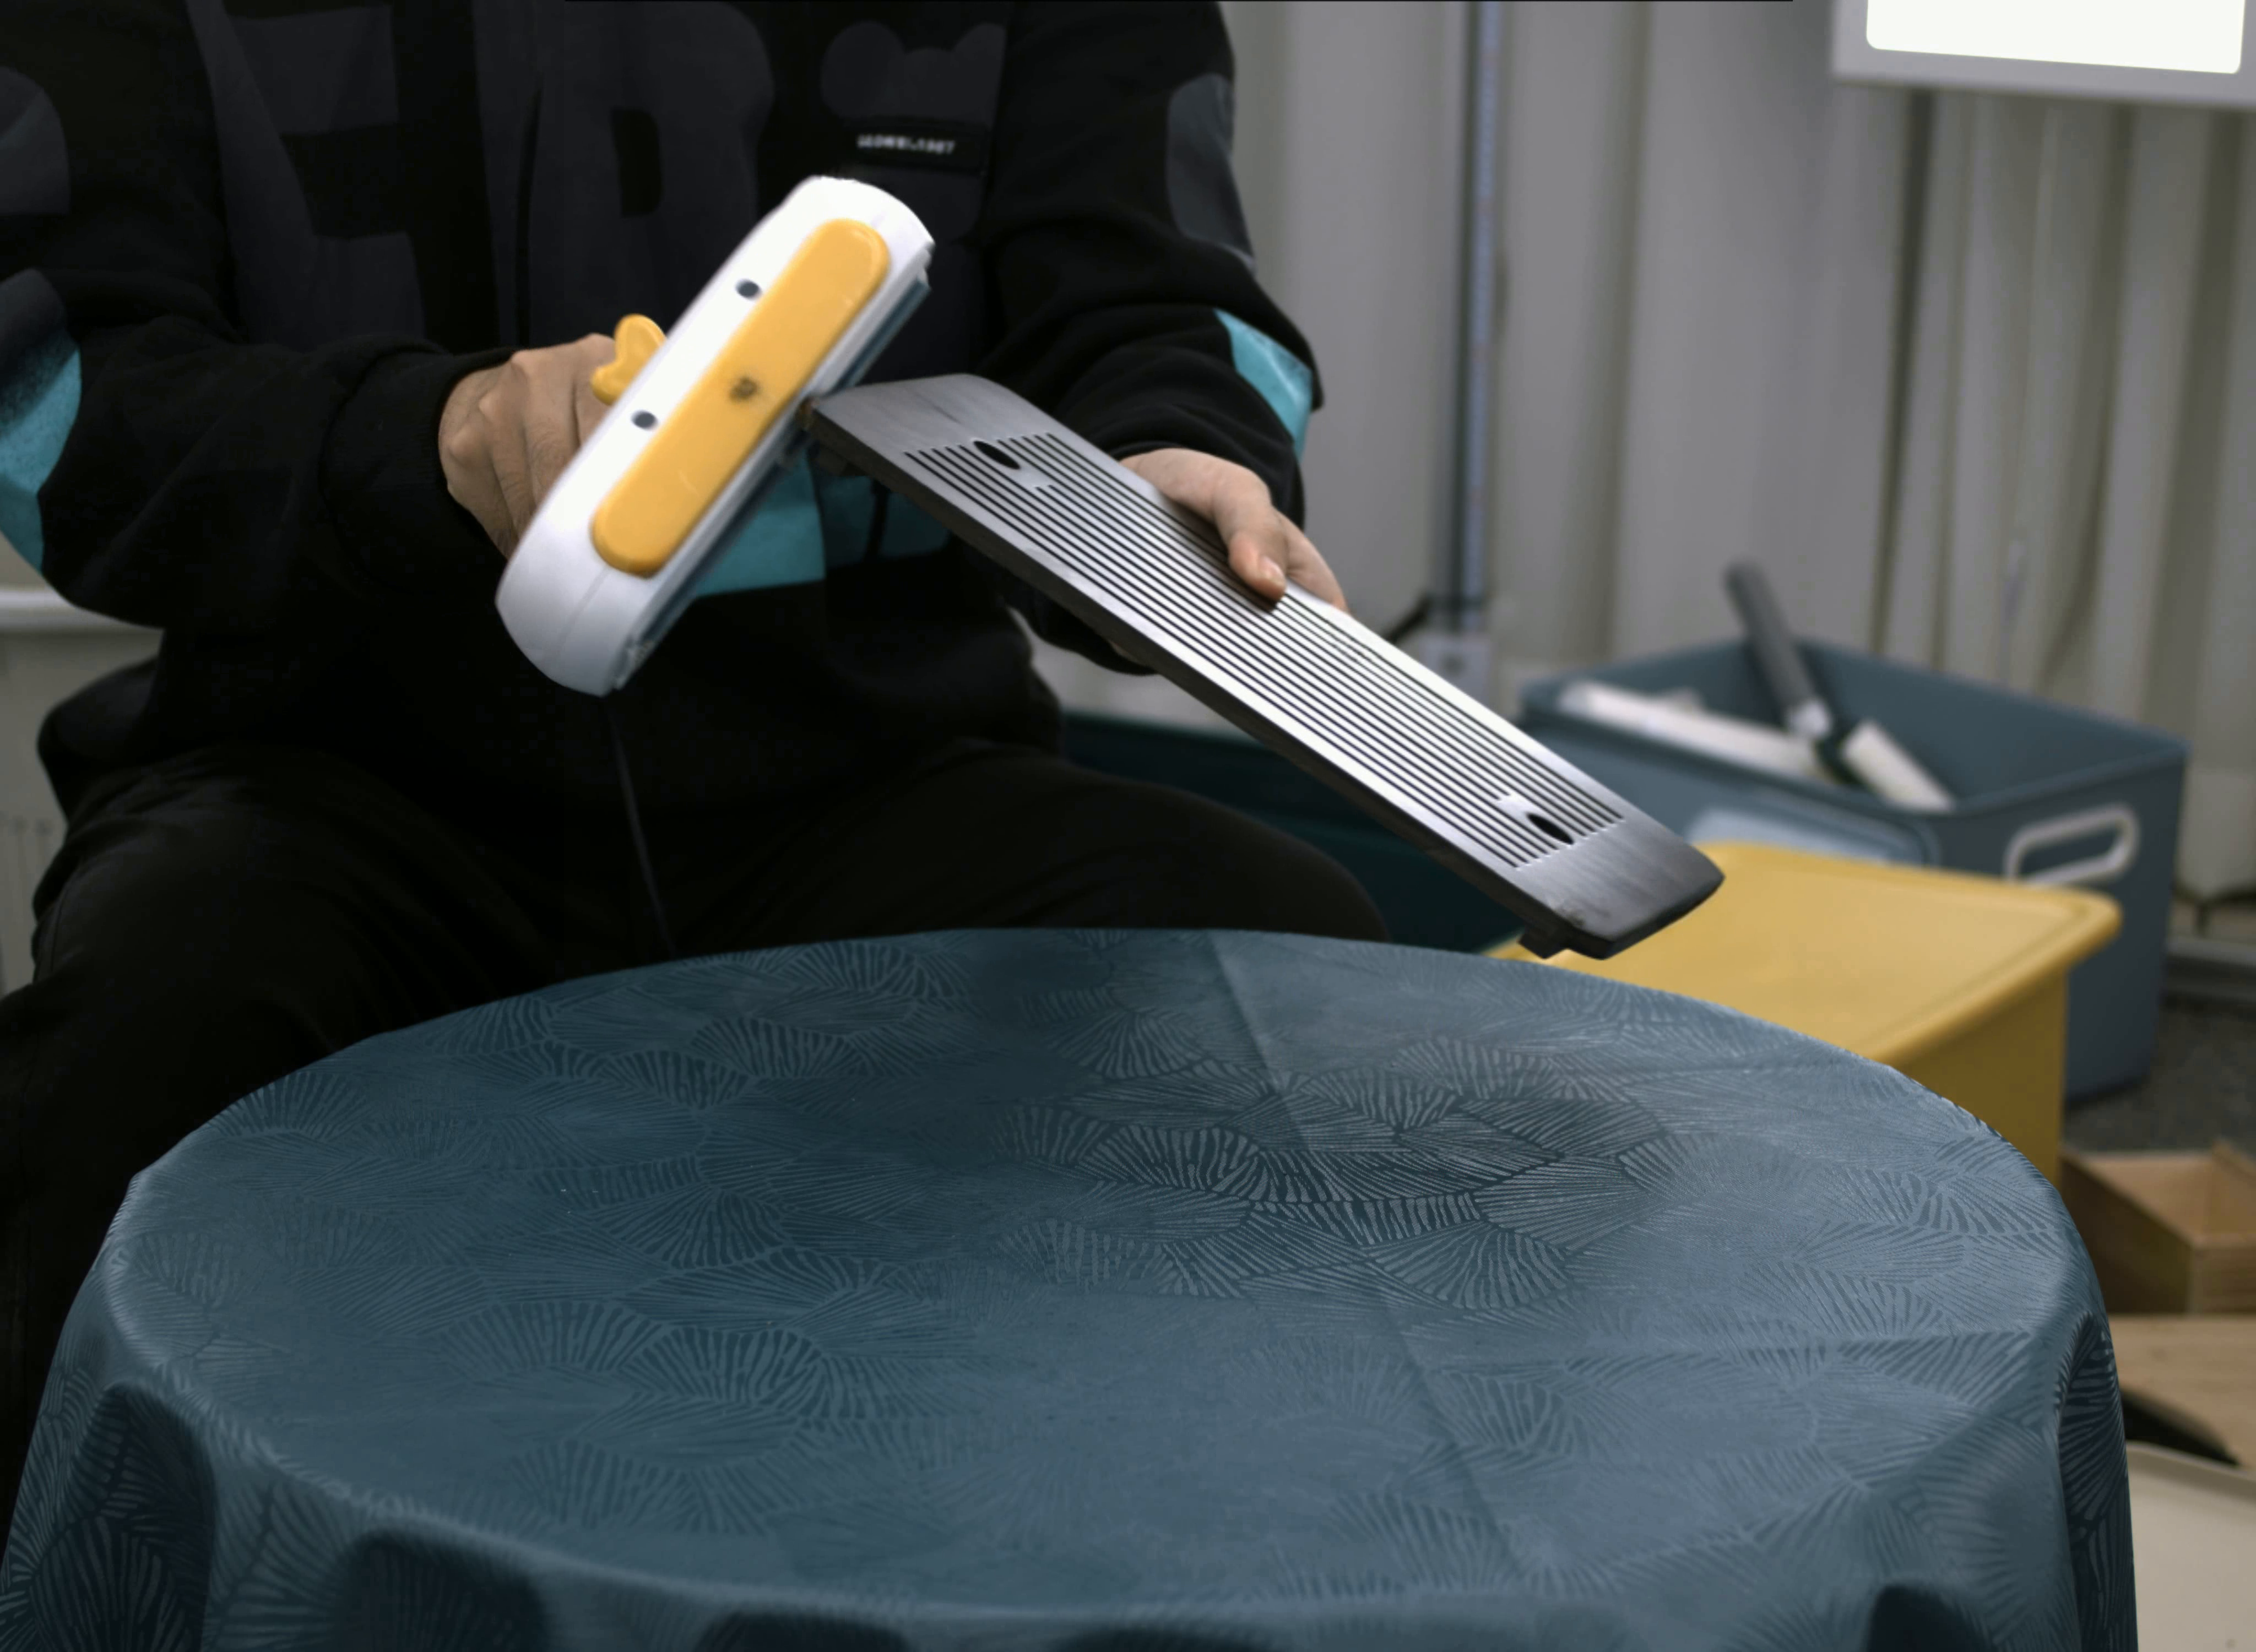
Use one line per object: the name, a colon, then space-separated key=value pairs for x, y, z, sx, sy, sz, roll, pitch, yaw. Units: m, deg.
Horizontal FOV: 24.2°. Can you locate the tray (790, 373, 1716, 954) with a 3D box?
tray: x=0.041 y=-0.053 z=1.657 sx=0.304 sy=0.018 sz=0.170 roll=35 pitch=16 yaw=12

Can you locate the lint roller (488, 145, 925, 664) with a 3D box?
lint roller: x=-0.154 y=-0.118 z=1.692 sx=0.074 sy=0.192 sz=0.192 roll=34 pitch=-28 yaw=-8
